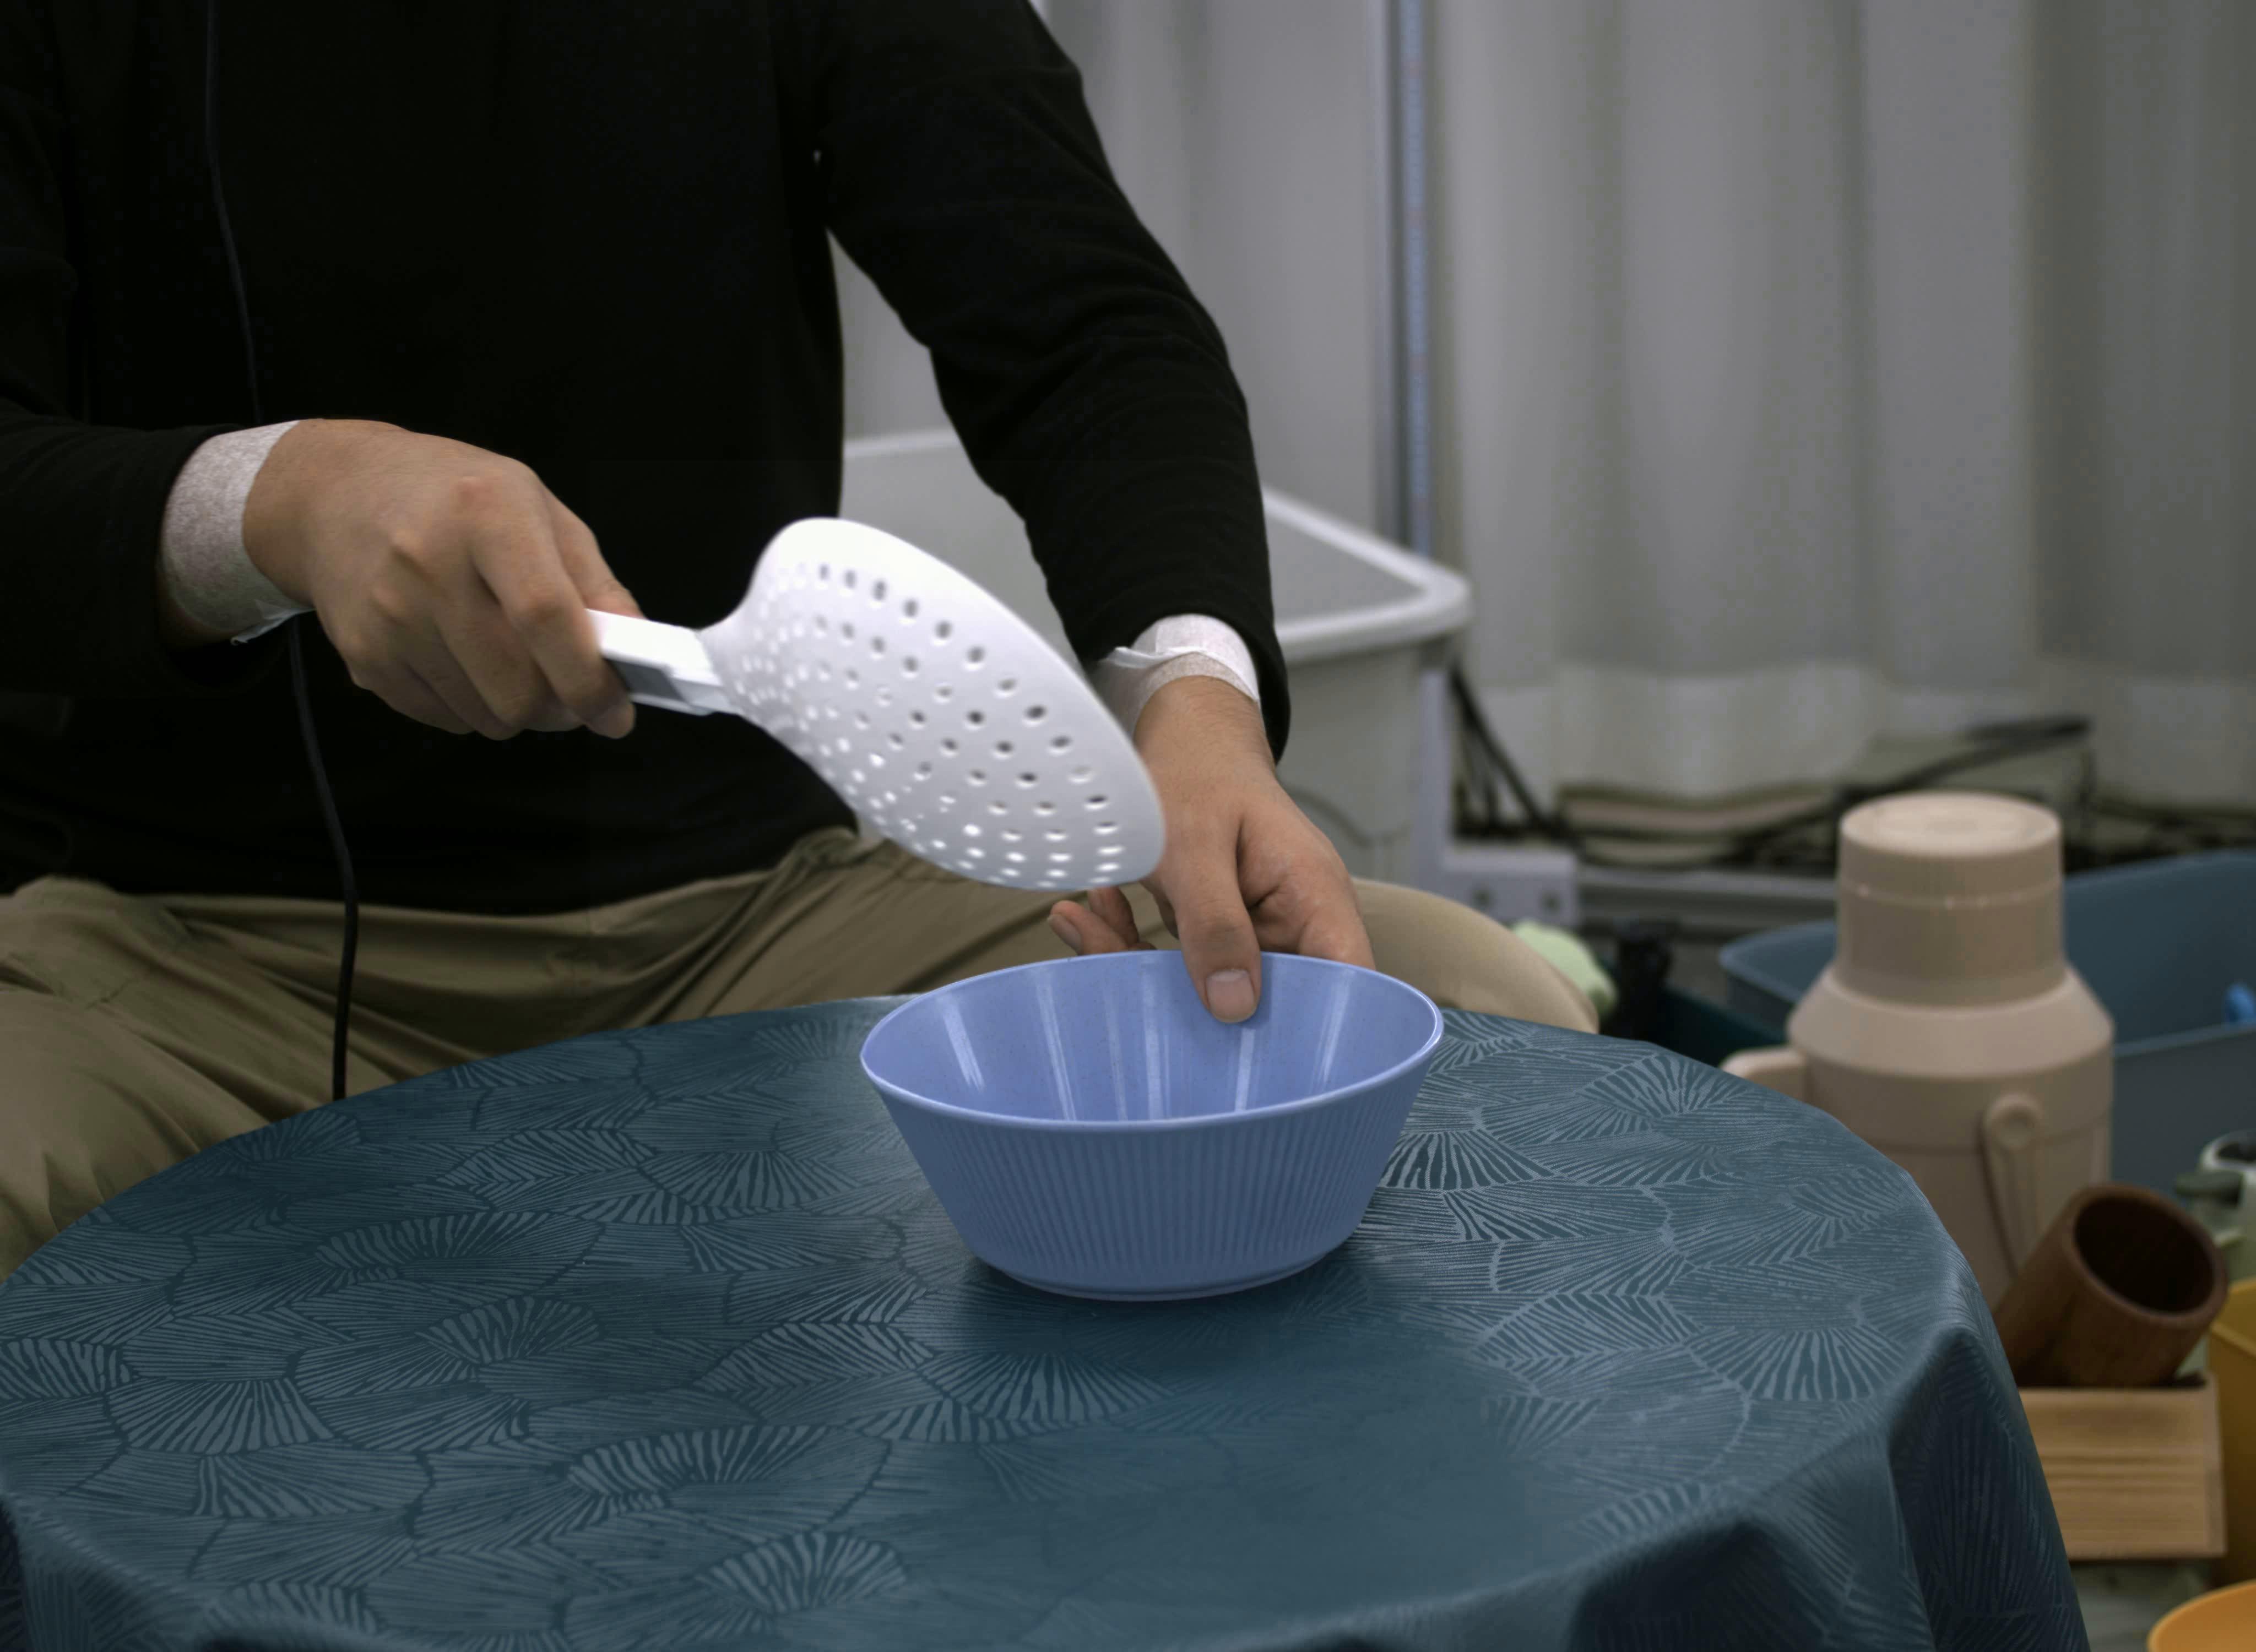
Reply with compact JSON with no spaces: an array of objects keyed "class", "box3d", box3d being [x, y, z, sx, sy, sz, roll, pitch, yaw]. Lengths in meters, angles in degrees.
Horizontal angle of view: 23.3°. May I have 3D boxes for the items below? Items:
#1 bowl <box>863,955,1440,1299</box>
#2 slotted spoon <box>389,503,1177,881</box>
[{"class":"bowl","box3d":[0.008,0.093,1.658,0.175,0.070,0.177,-3,14,0]},{"class":"slotted spoon","box3d":[-0.113,-0.045,1.570,0.046,0.134,0.352,-45,32,-19]}]
